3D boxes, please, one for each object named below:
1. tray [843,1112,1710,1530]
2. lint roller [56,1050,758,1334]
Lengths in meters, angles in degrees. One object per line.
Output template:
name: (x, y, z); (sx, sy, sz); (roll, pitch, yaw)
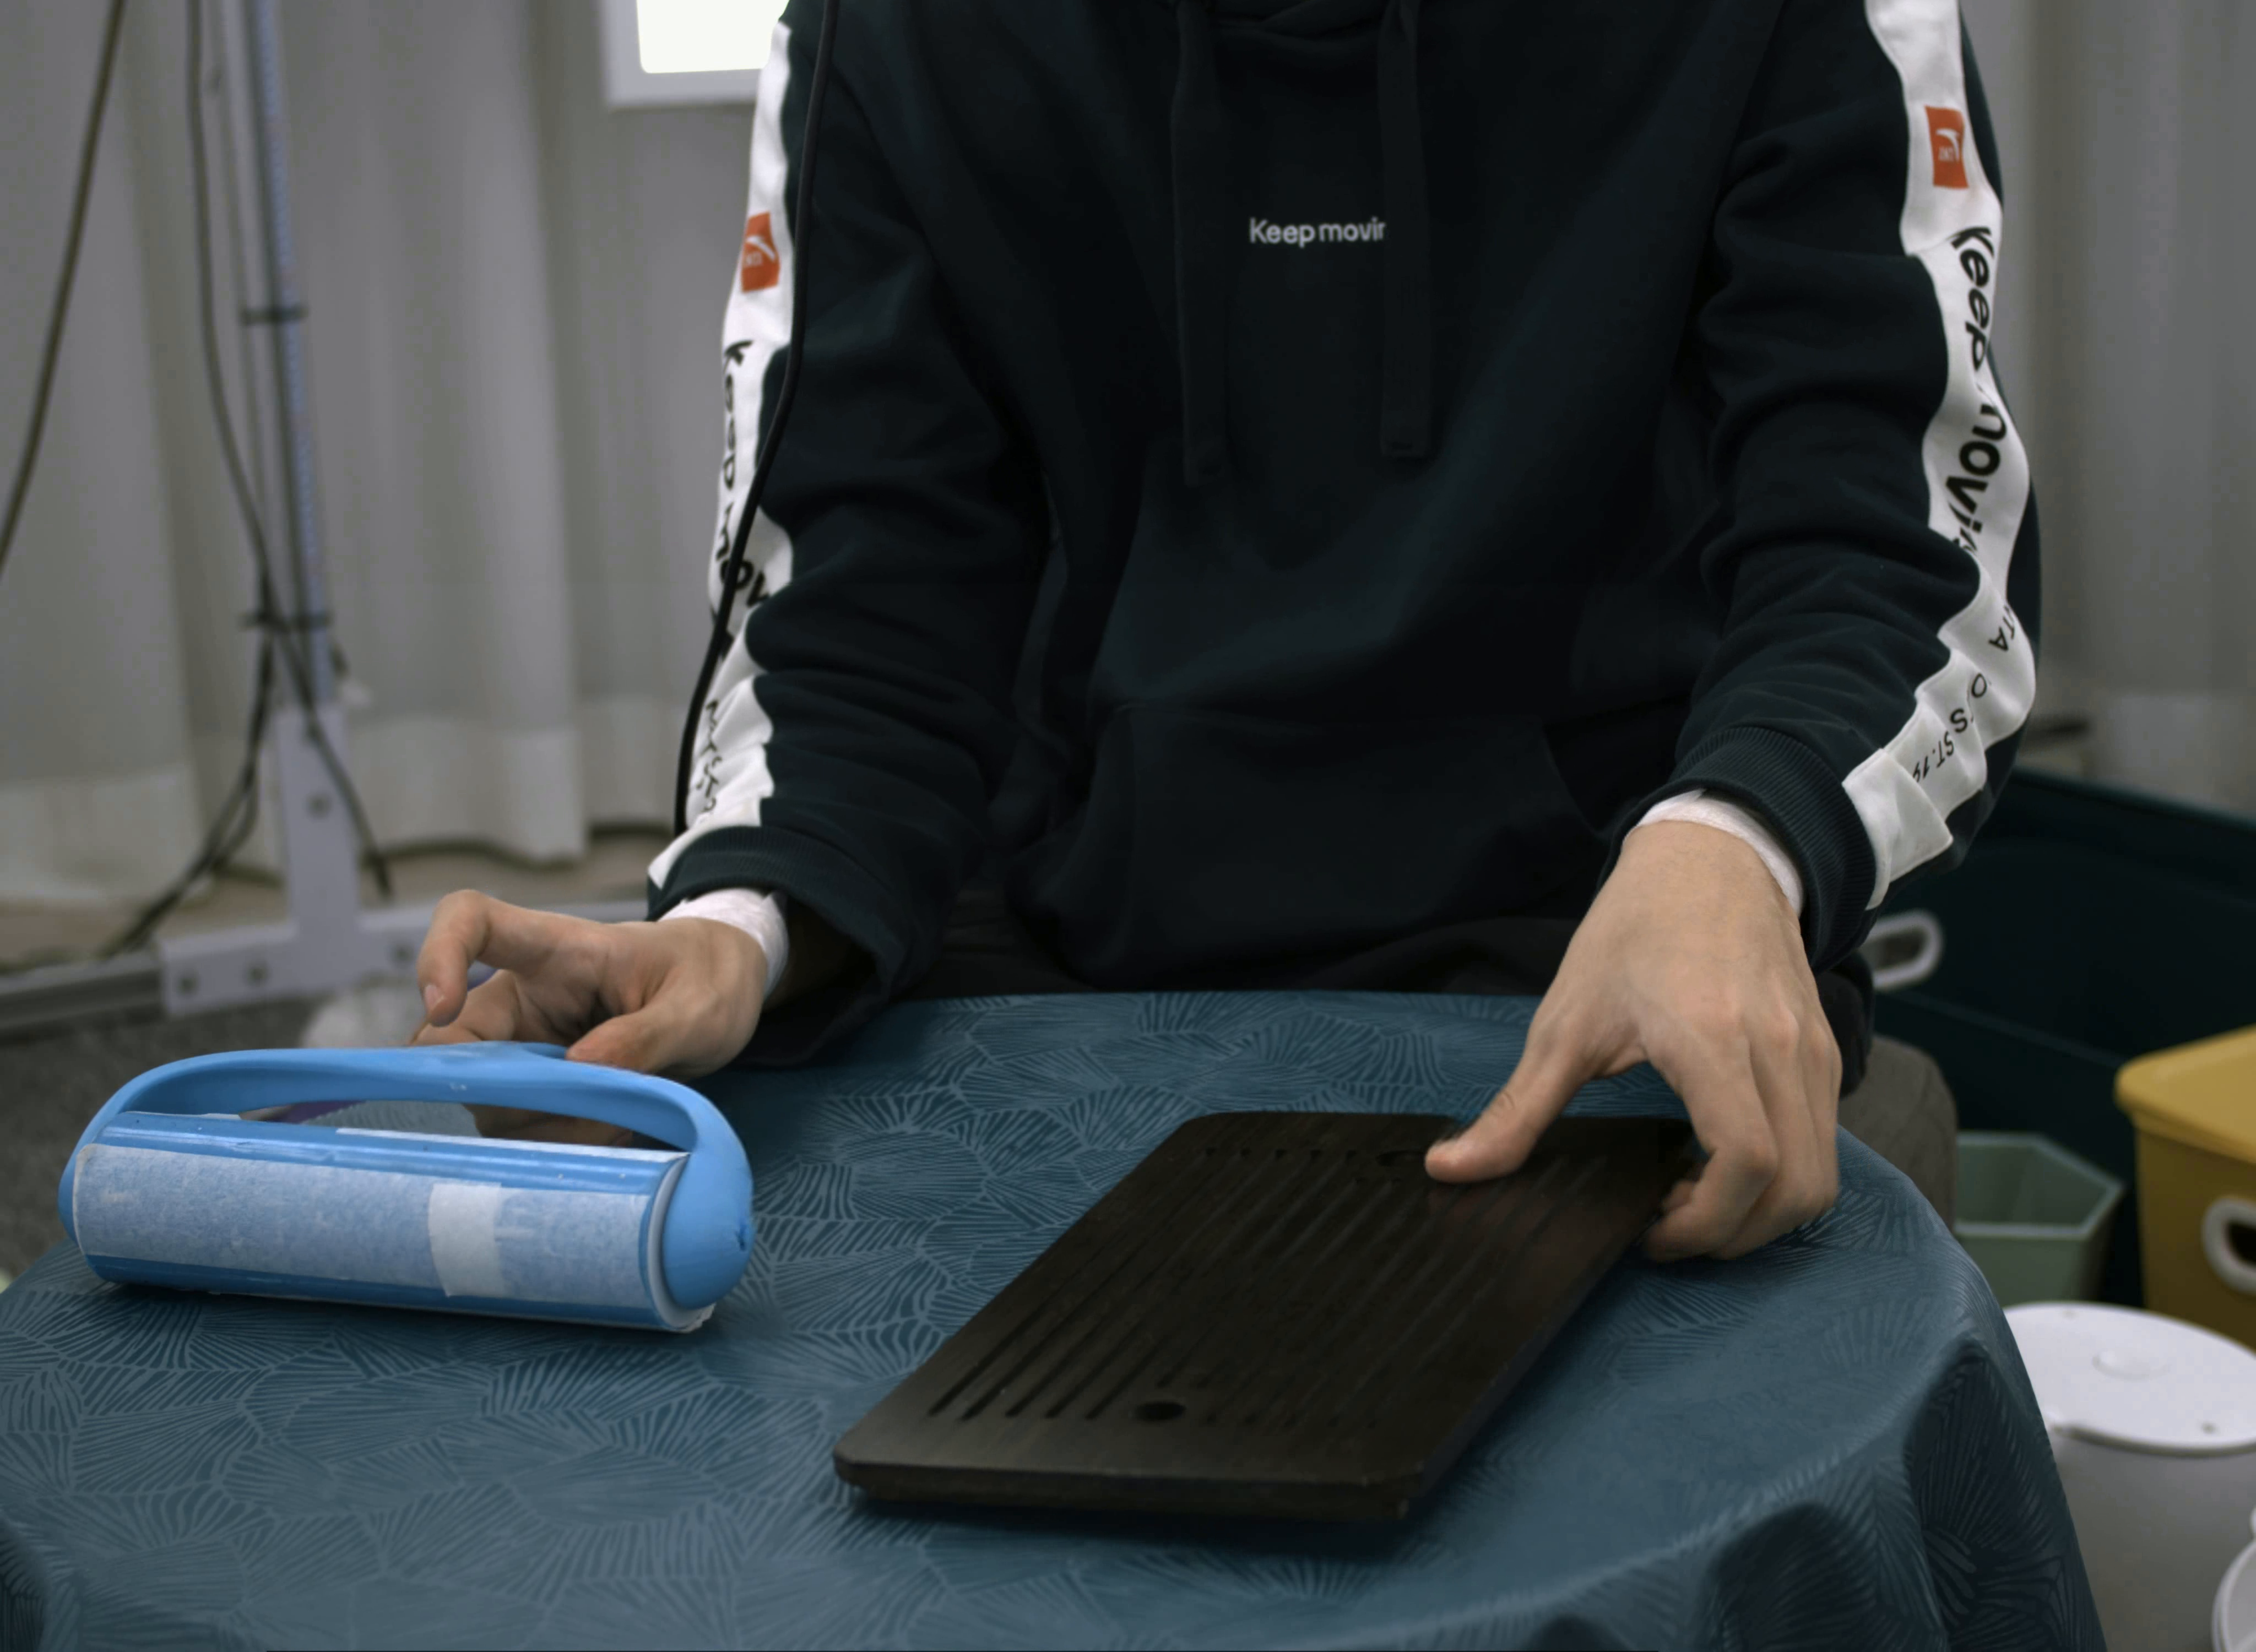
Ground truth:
tray: (0.051, 0.139, 1.569); (0.170, 0.018, 0.307); (0, 15, 21)
lint roller: (-0.200, 0.100, 1.693); (0.229, 0.067, 0.181); (0, 18, 19)
